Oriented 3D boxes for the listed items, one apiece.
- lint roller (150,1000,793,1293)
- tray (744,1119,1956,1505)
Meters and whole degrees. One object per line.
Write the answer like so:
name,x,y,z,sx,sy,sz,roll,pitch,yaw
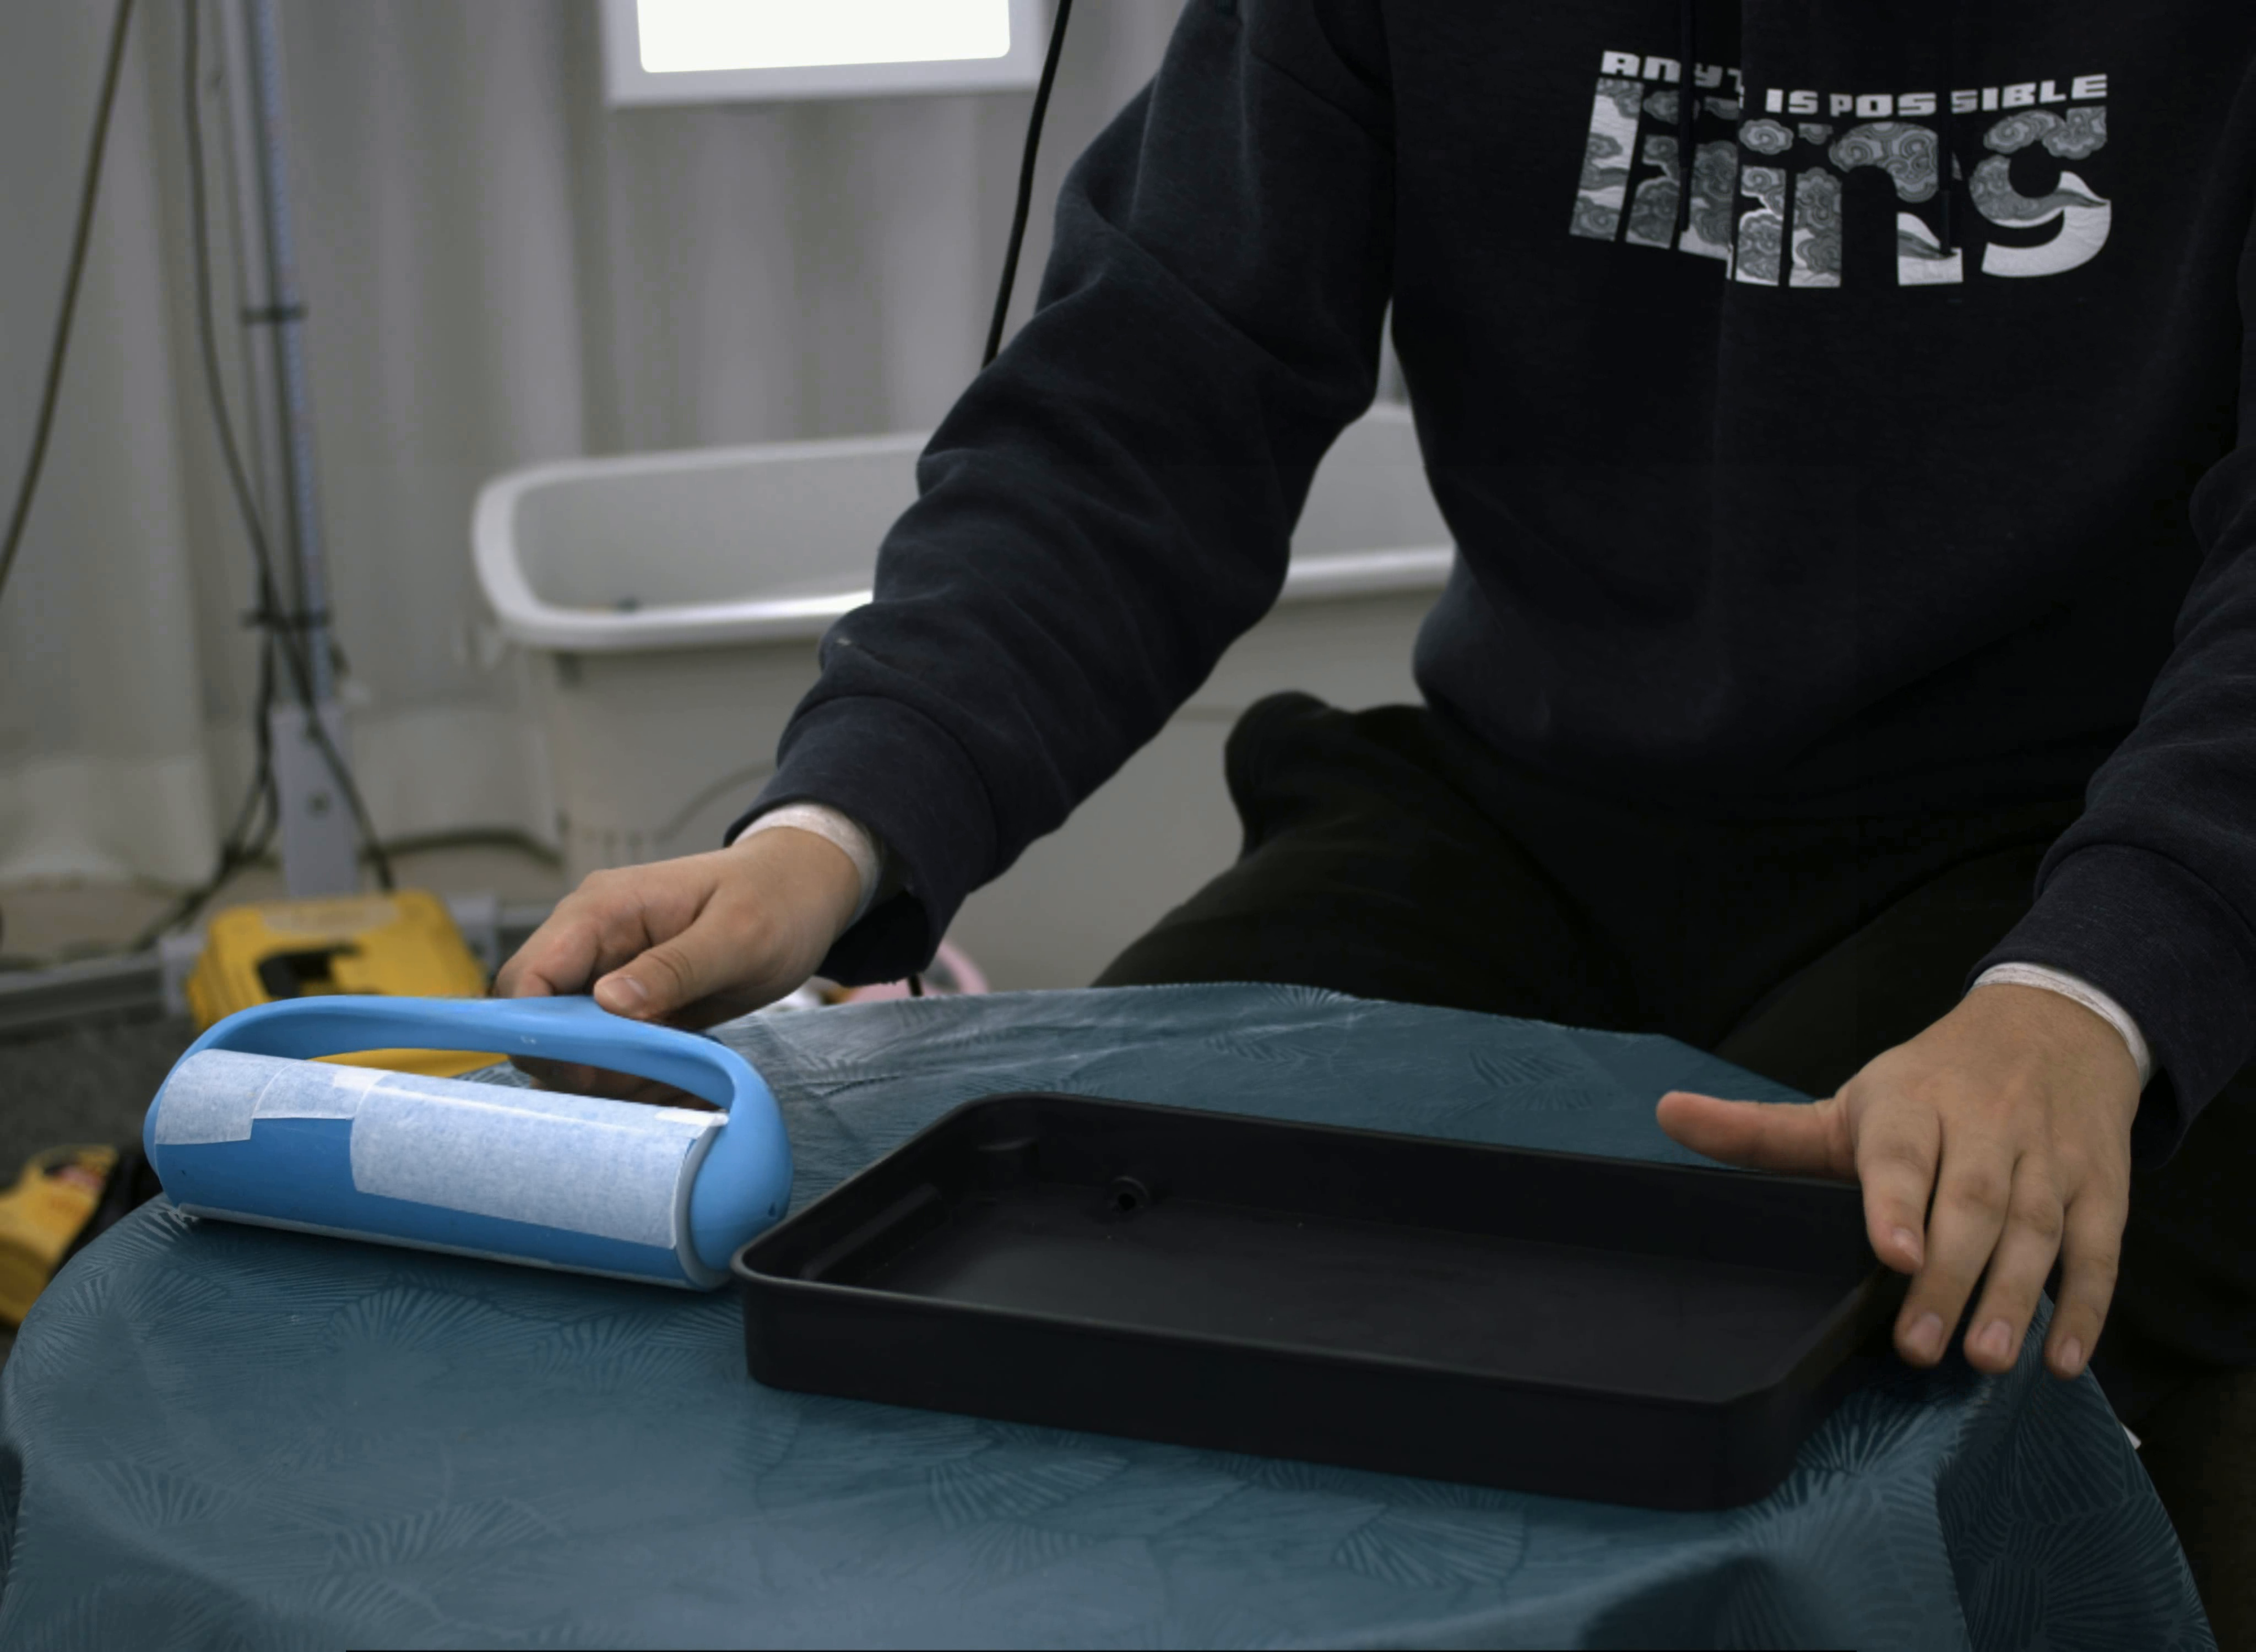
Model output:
lint roller,-0.179,0.086,1.733,0.229,0.067,0.181,2,20,27
tray,0.065,0.136,1.570,0.318,0.037,0.184,2,15,26
